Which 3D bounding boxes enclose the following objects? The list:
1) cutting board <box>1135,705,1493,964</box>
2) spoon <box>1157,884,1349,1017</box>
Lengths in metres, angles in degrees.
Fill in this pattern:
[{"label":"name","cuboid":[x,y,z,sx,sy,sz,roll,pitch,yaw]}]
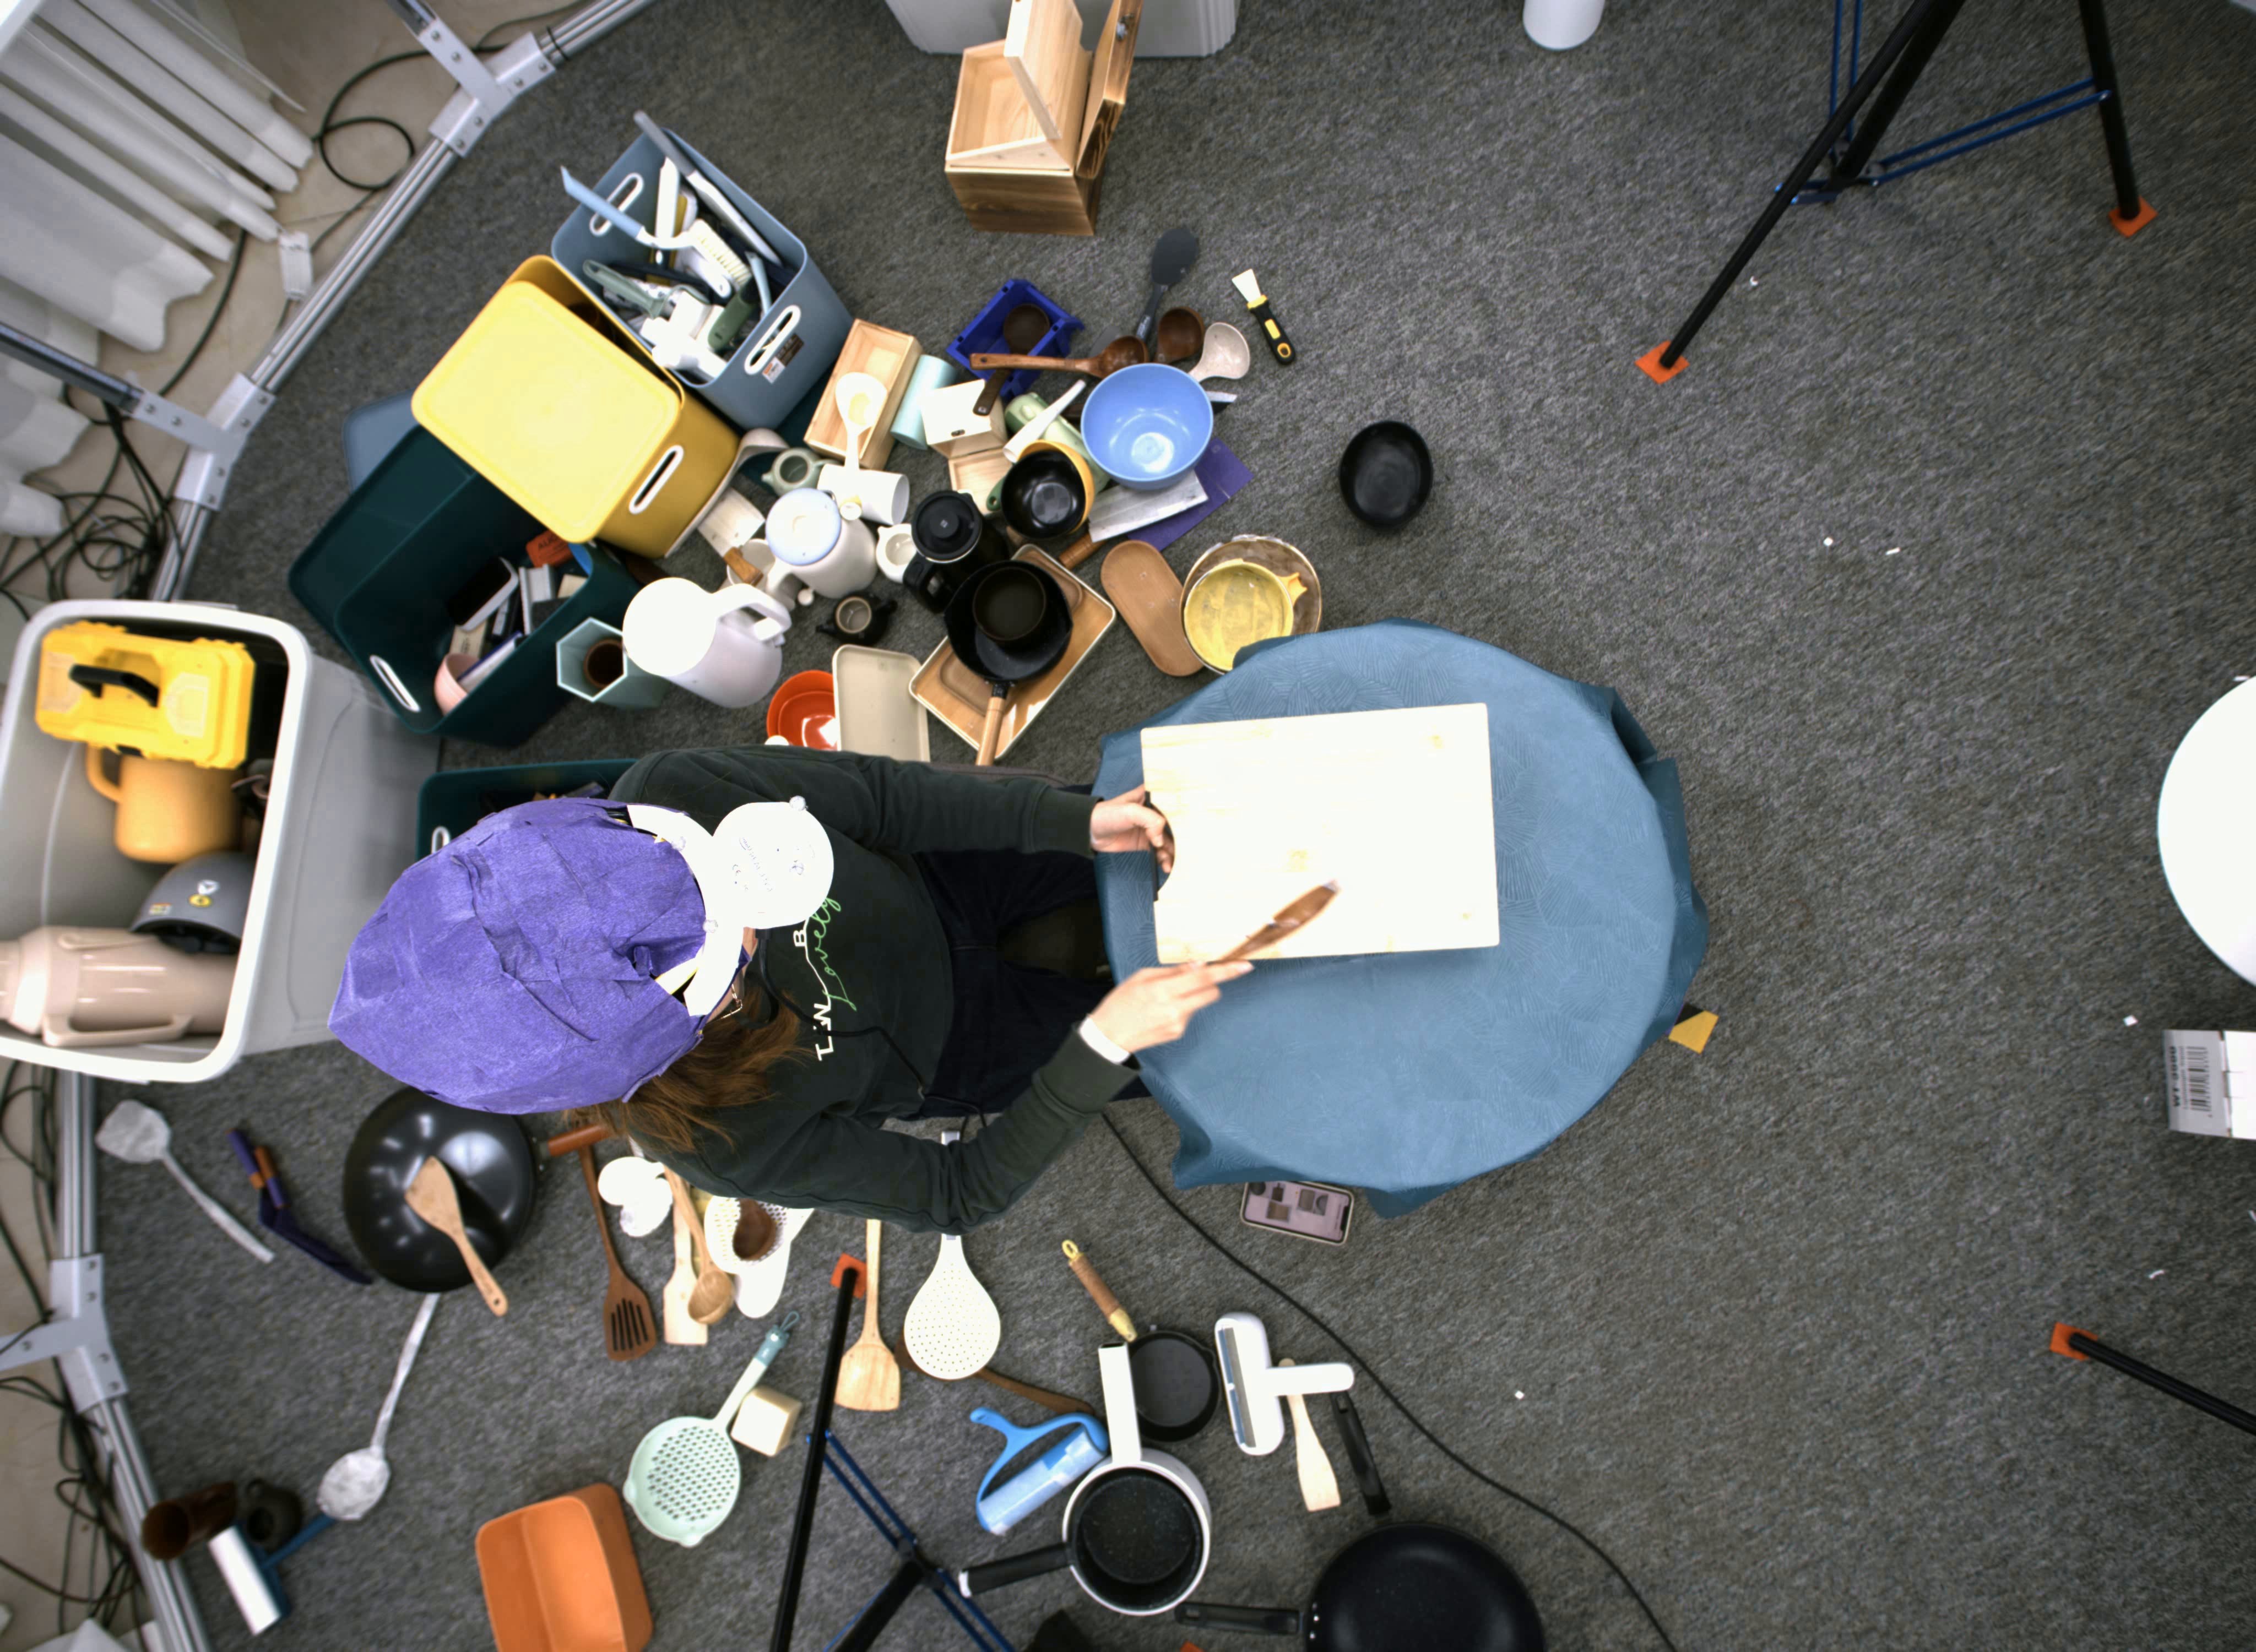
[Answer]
[{"label":"cutting board","cuboid":[0.189,0.009,1.385,0.350,0.023,0.252,-5,97,8]},{"label":"spoon","cuboid":[0.117,0.118,1.290,0.218,0.074,0.017,-34,101,15]}]
